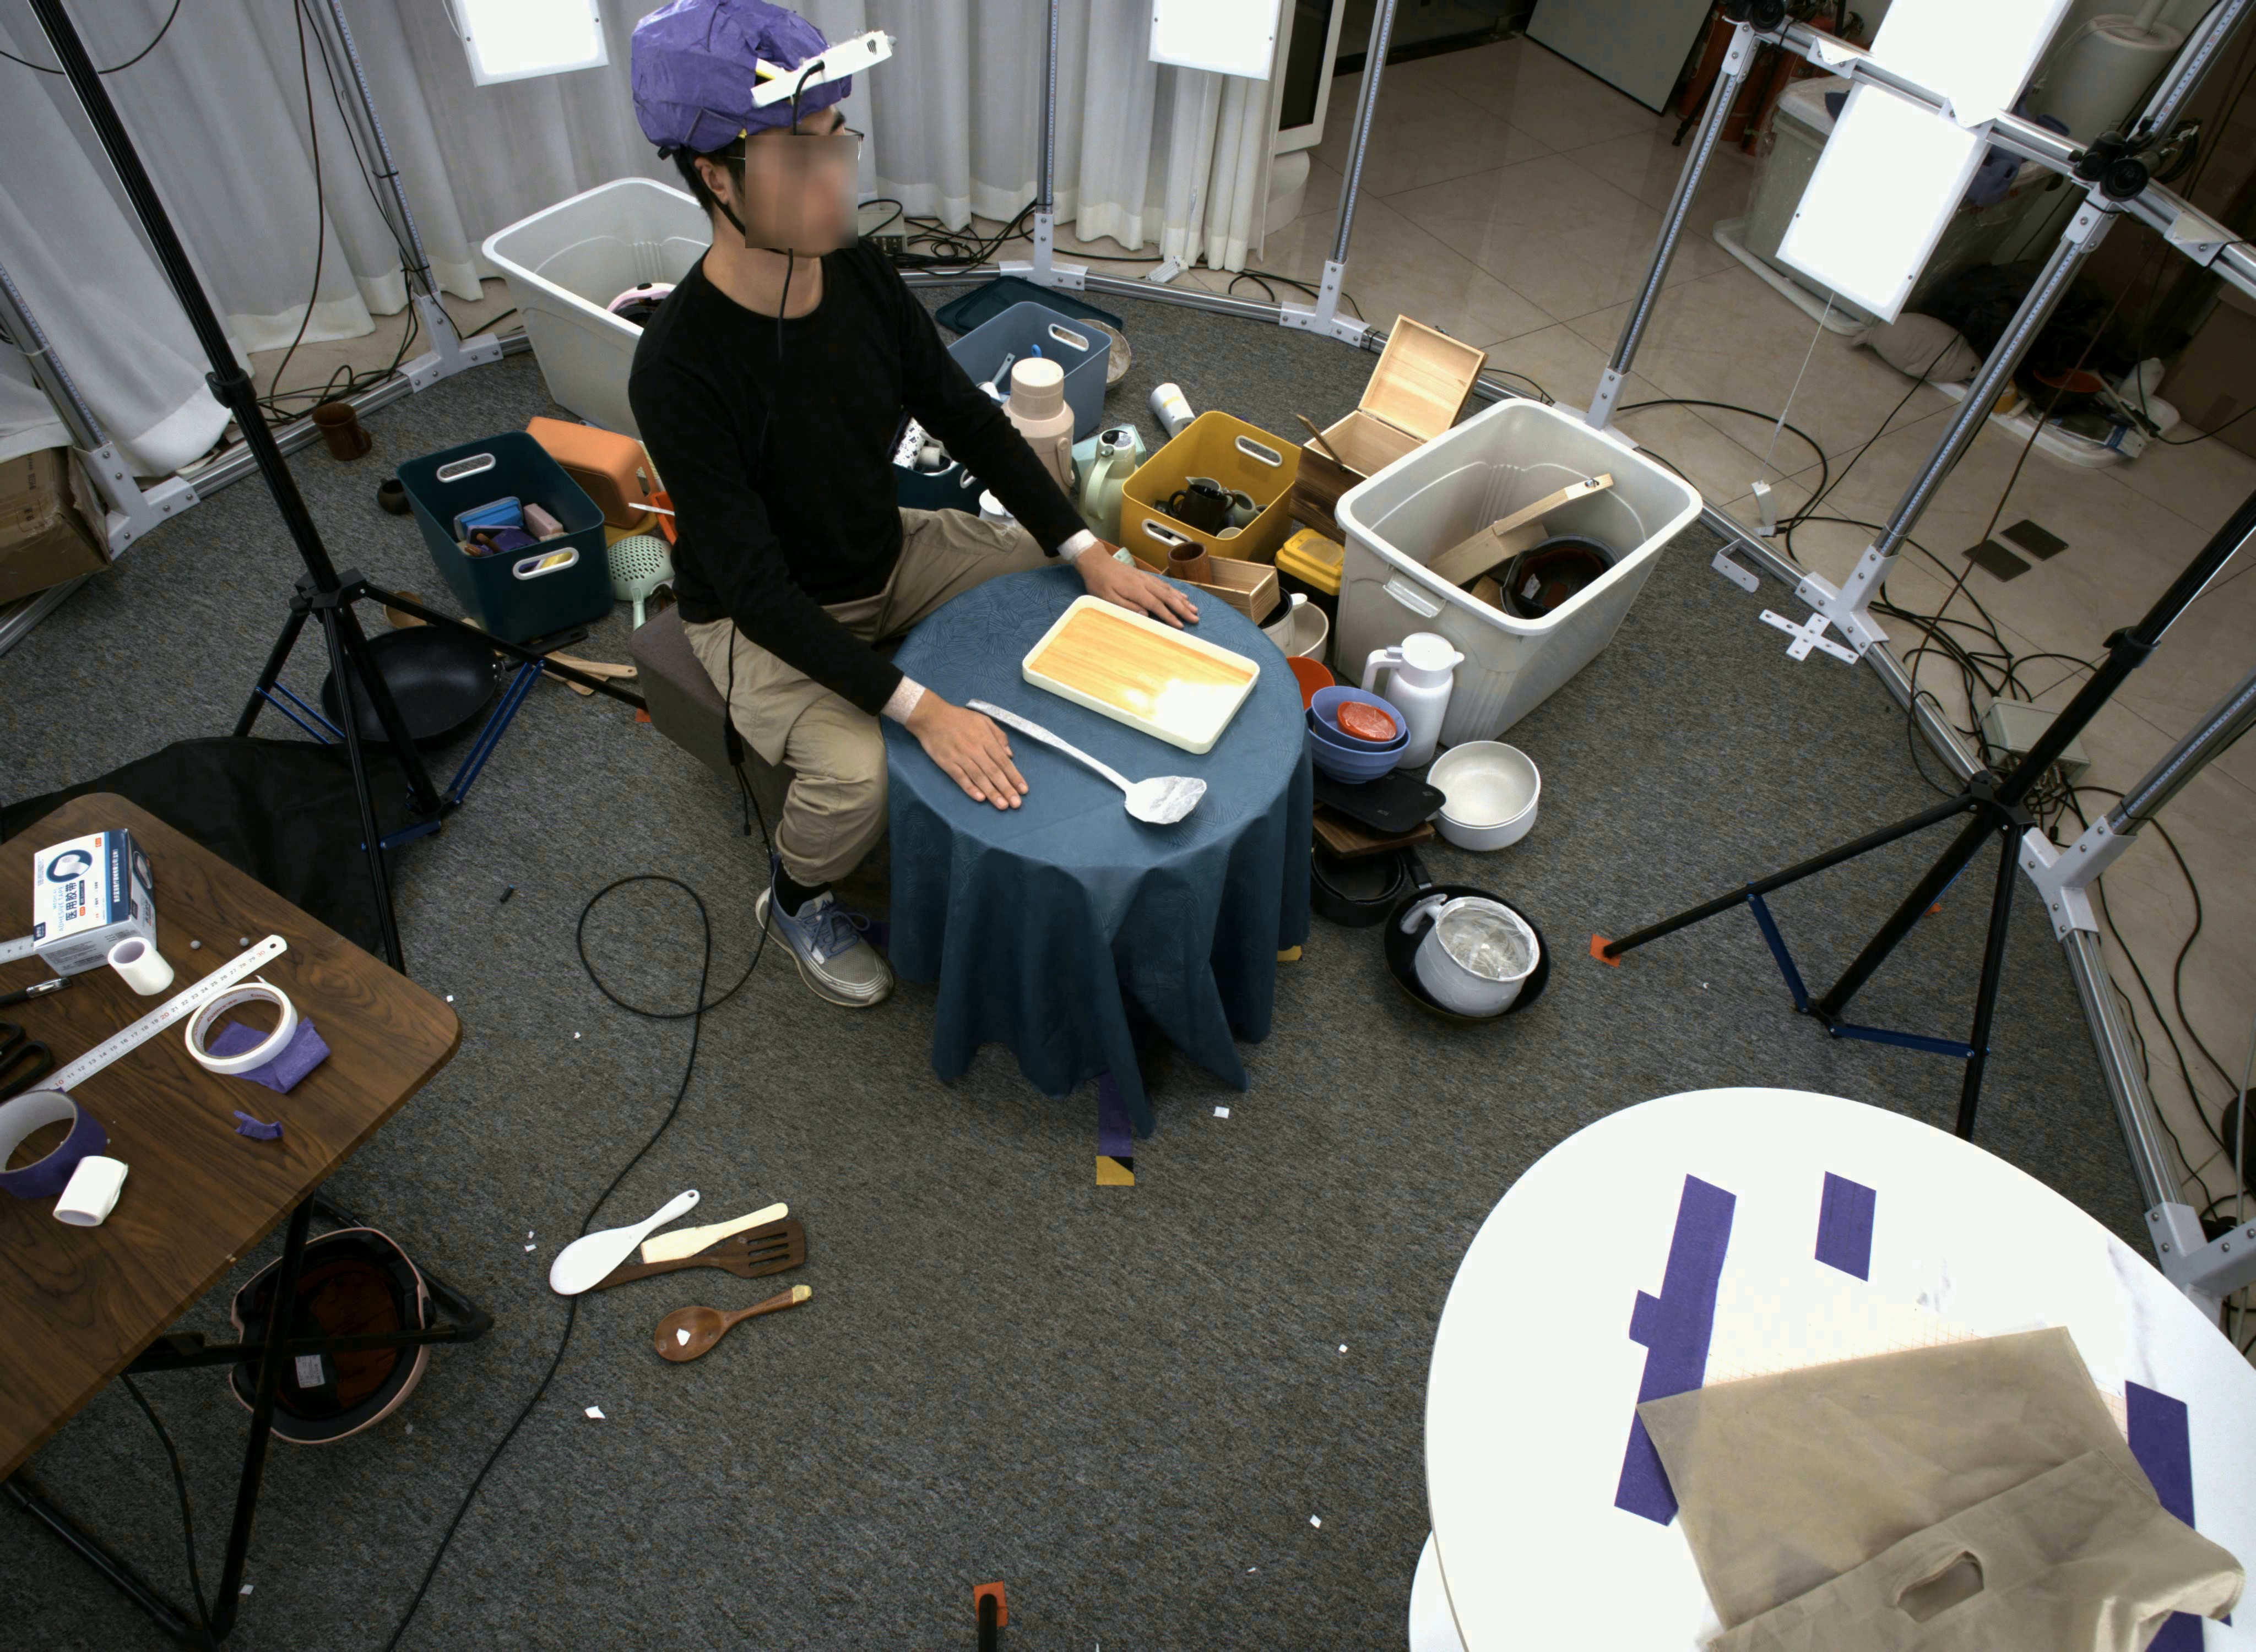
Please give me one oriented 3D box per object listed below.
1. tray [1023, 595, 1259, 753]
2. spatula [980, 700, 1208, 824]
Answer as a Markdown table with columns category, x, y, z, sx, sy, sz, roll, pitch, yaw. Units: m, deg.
| category | x | y | z | sx | sy | sz | roll | pitch | yaw |
| --- | --- | --- | --- | --- | --- | --- | --- | --- | --- |
| tray | 0.019 | -0.223 | 1.847 | 0.302 | 0.027 | 0.195 | 25 | 52 | 17 |
| spatula | -0.063 | -0.099 | 1.727 | 0.368 | 0.044 | 0.100 | 30 | 54 | 20 |
